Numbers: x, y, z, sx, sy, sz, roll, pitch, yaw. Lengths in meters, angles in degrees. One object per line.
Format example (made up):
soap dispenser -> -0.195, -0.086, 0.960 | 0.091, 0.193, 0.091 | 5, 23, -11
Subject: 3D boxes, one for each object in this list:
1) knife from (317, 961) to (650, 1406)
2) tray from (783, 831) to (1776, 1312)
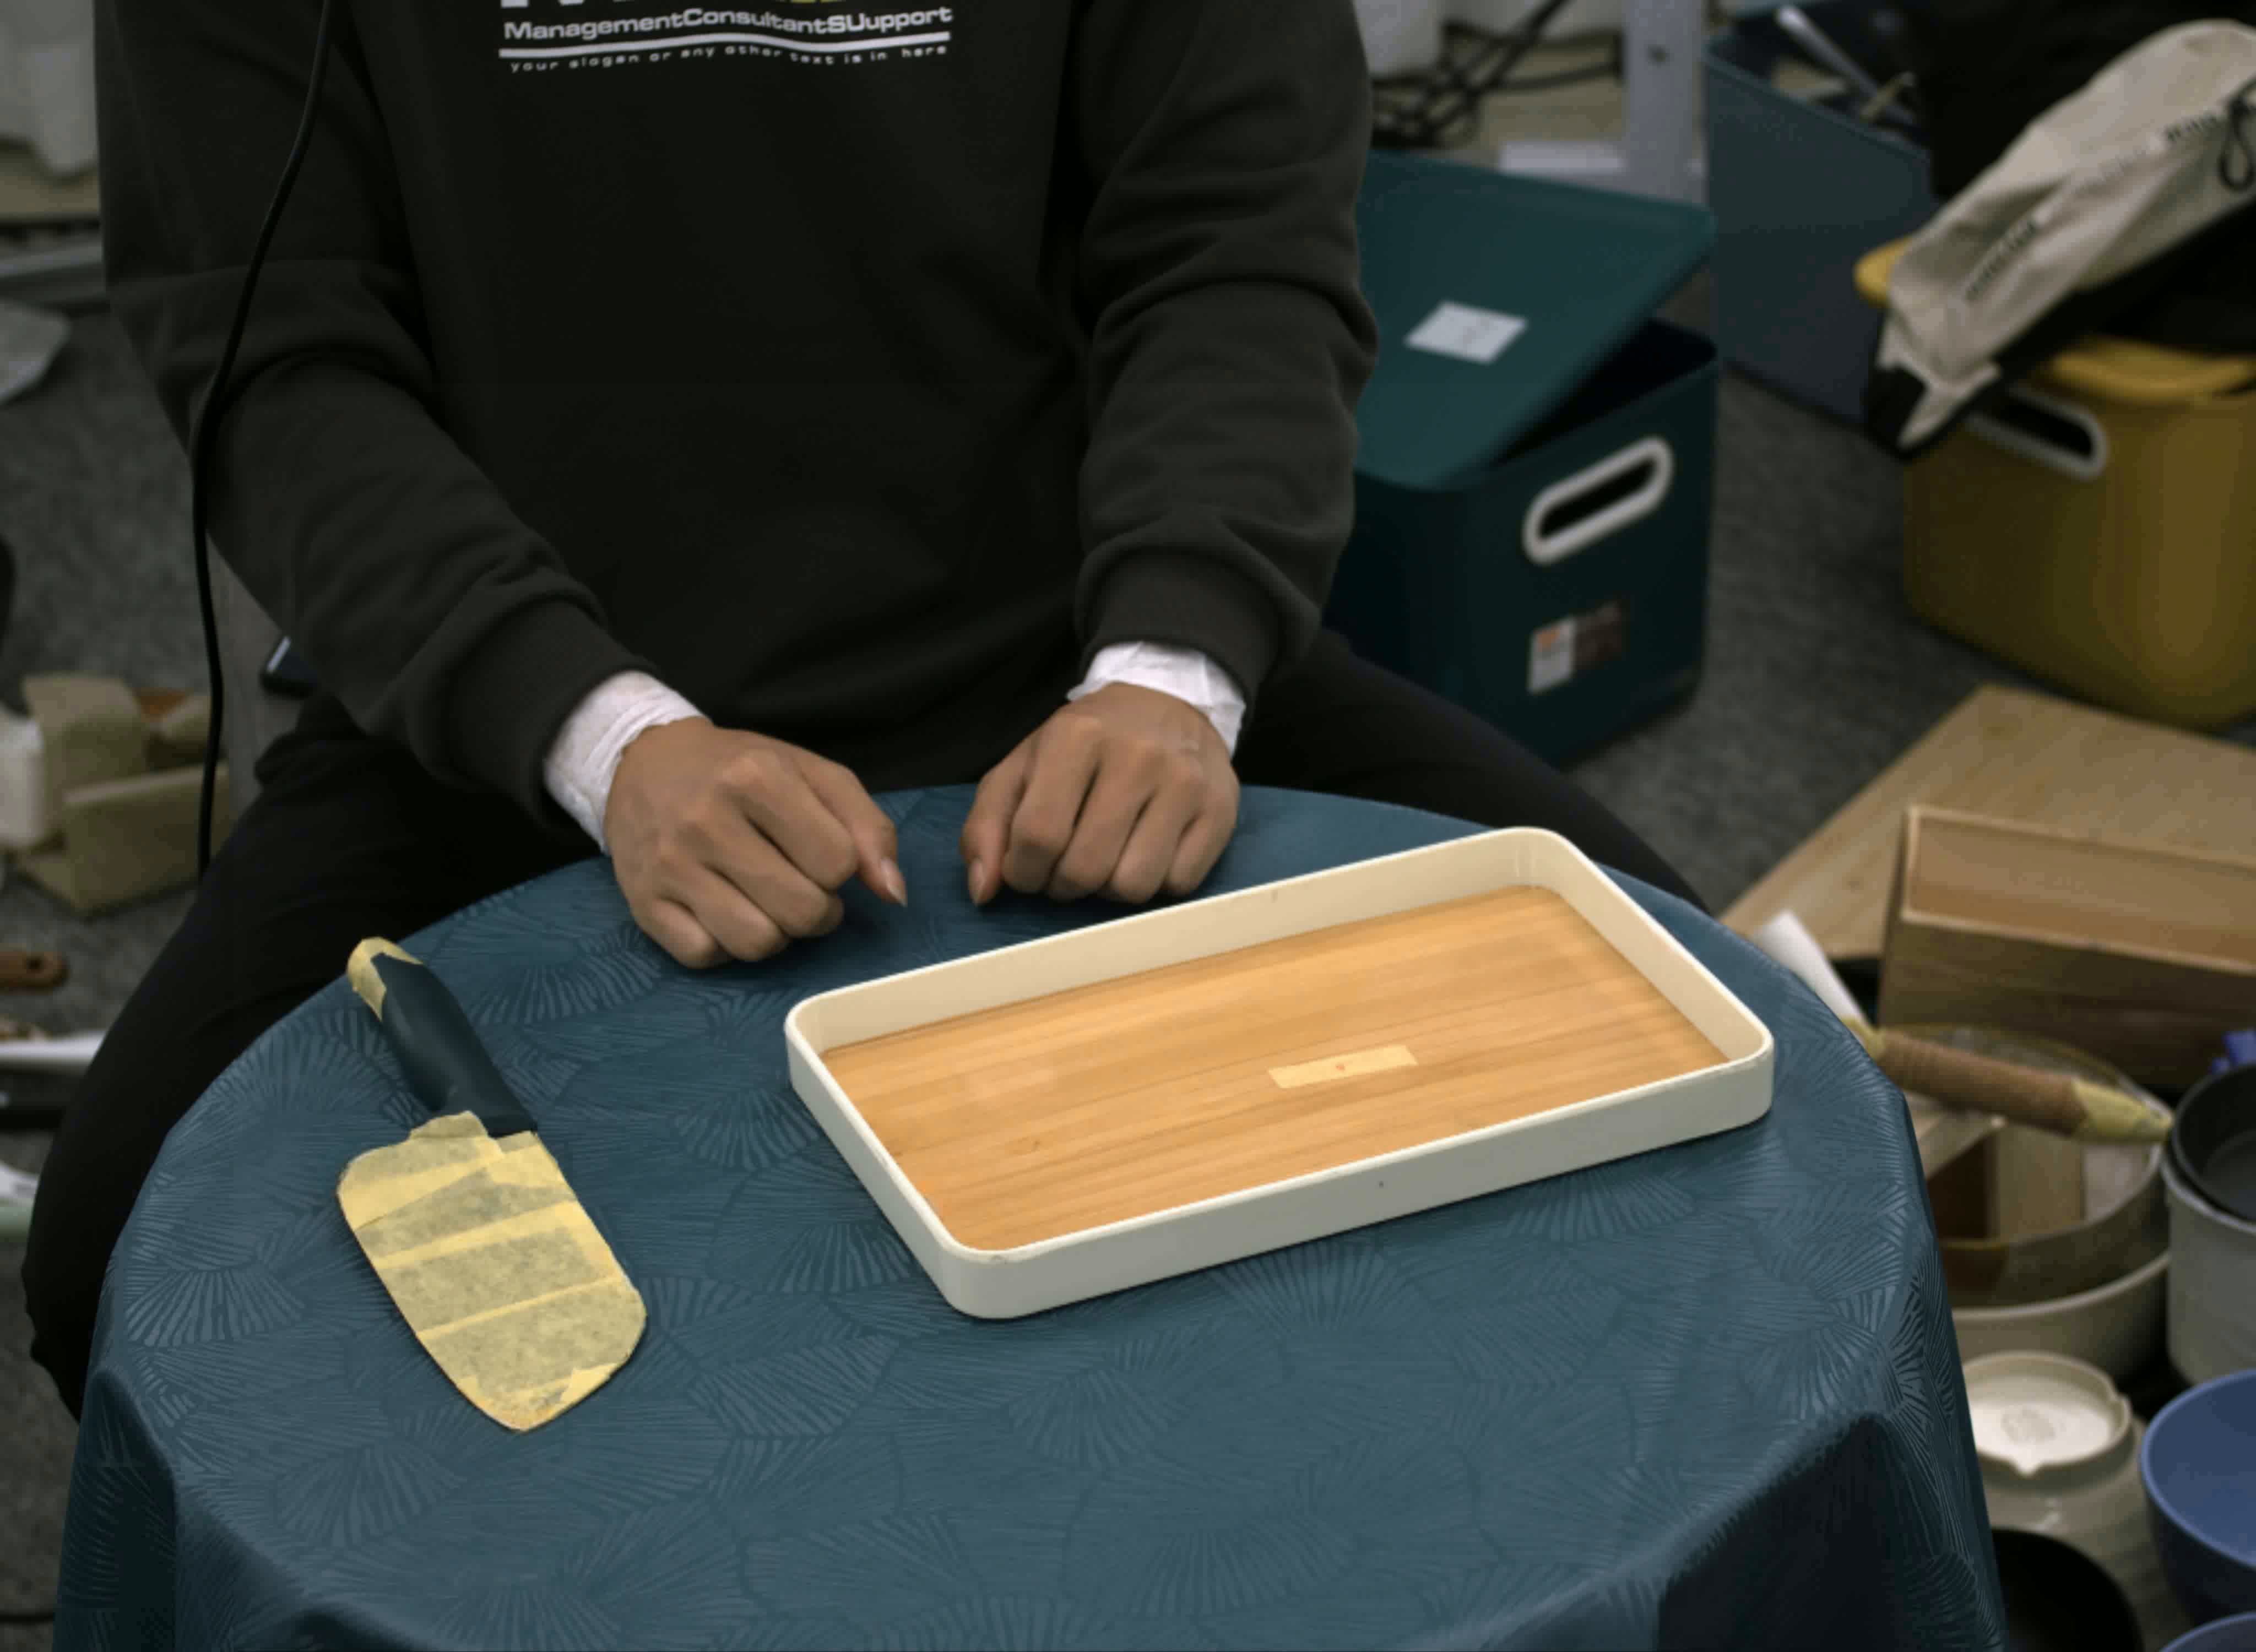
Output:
knife -> -0.227, 0.119, 1.872 | 0.081, 0.027, 0.292 | -11, 29, -18
tray -> 0.050, 0.079, 1.910 | 0.301, 0.027, 0.193 | -13, 28, -19
